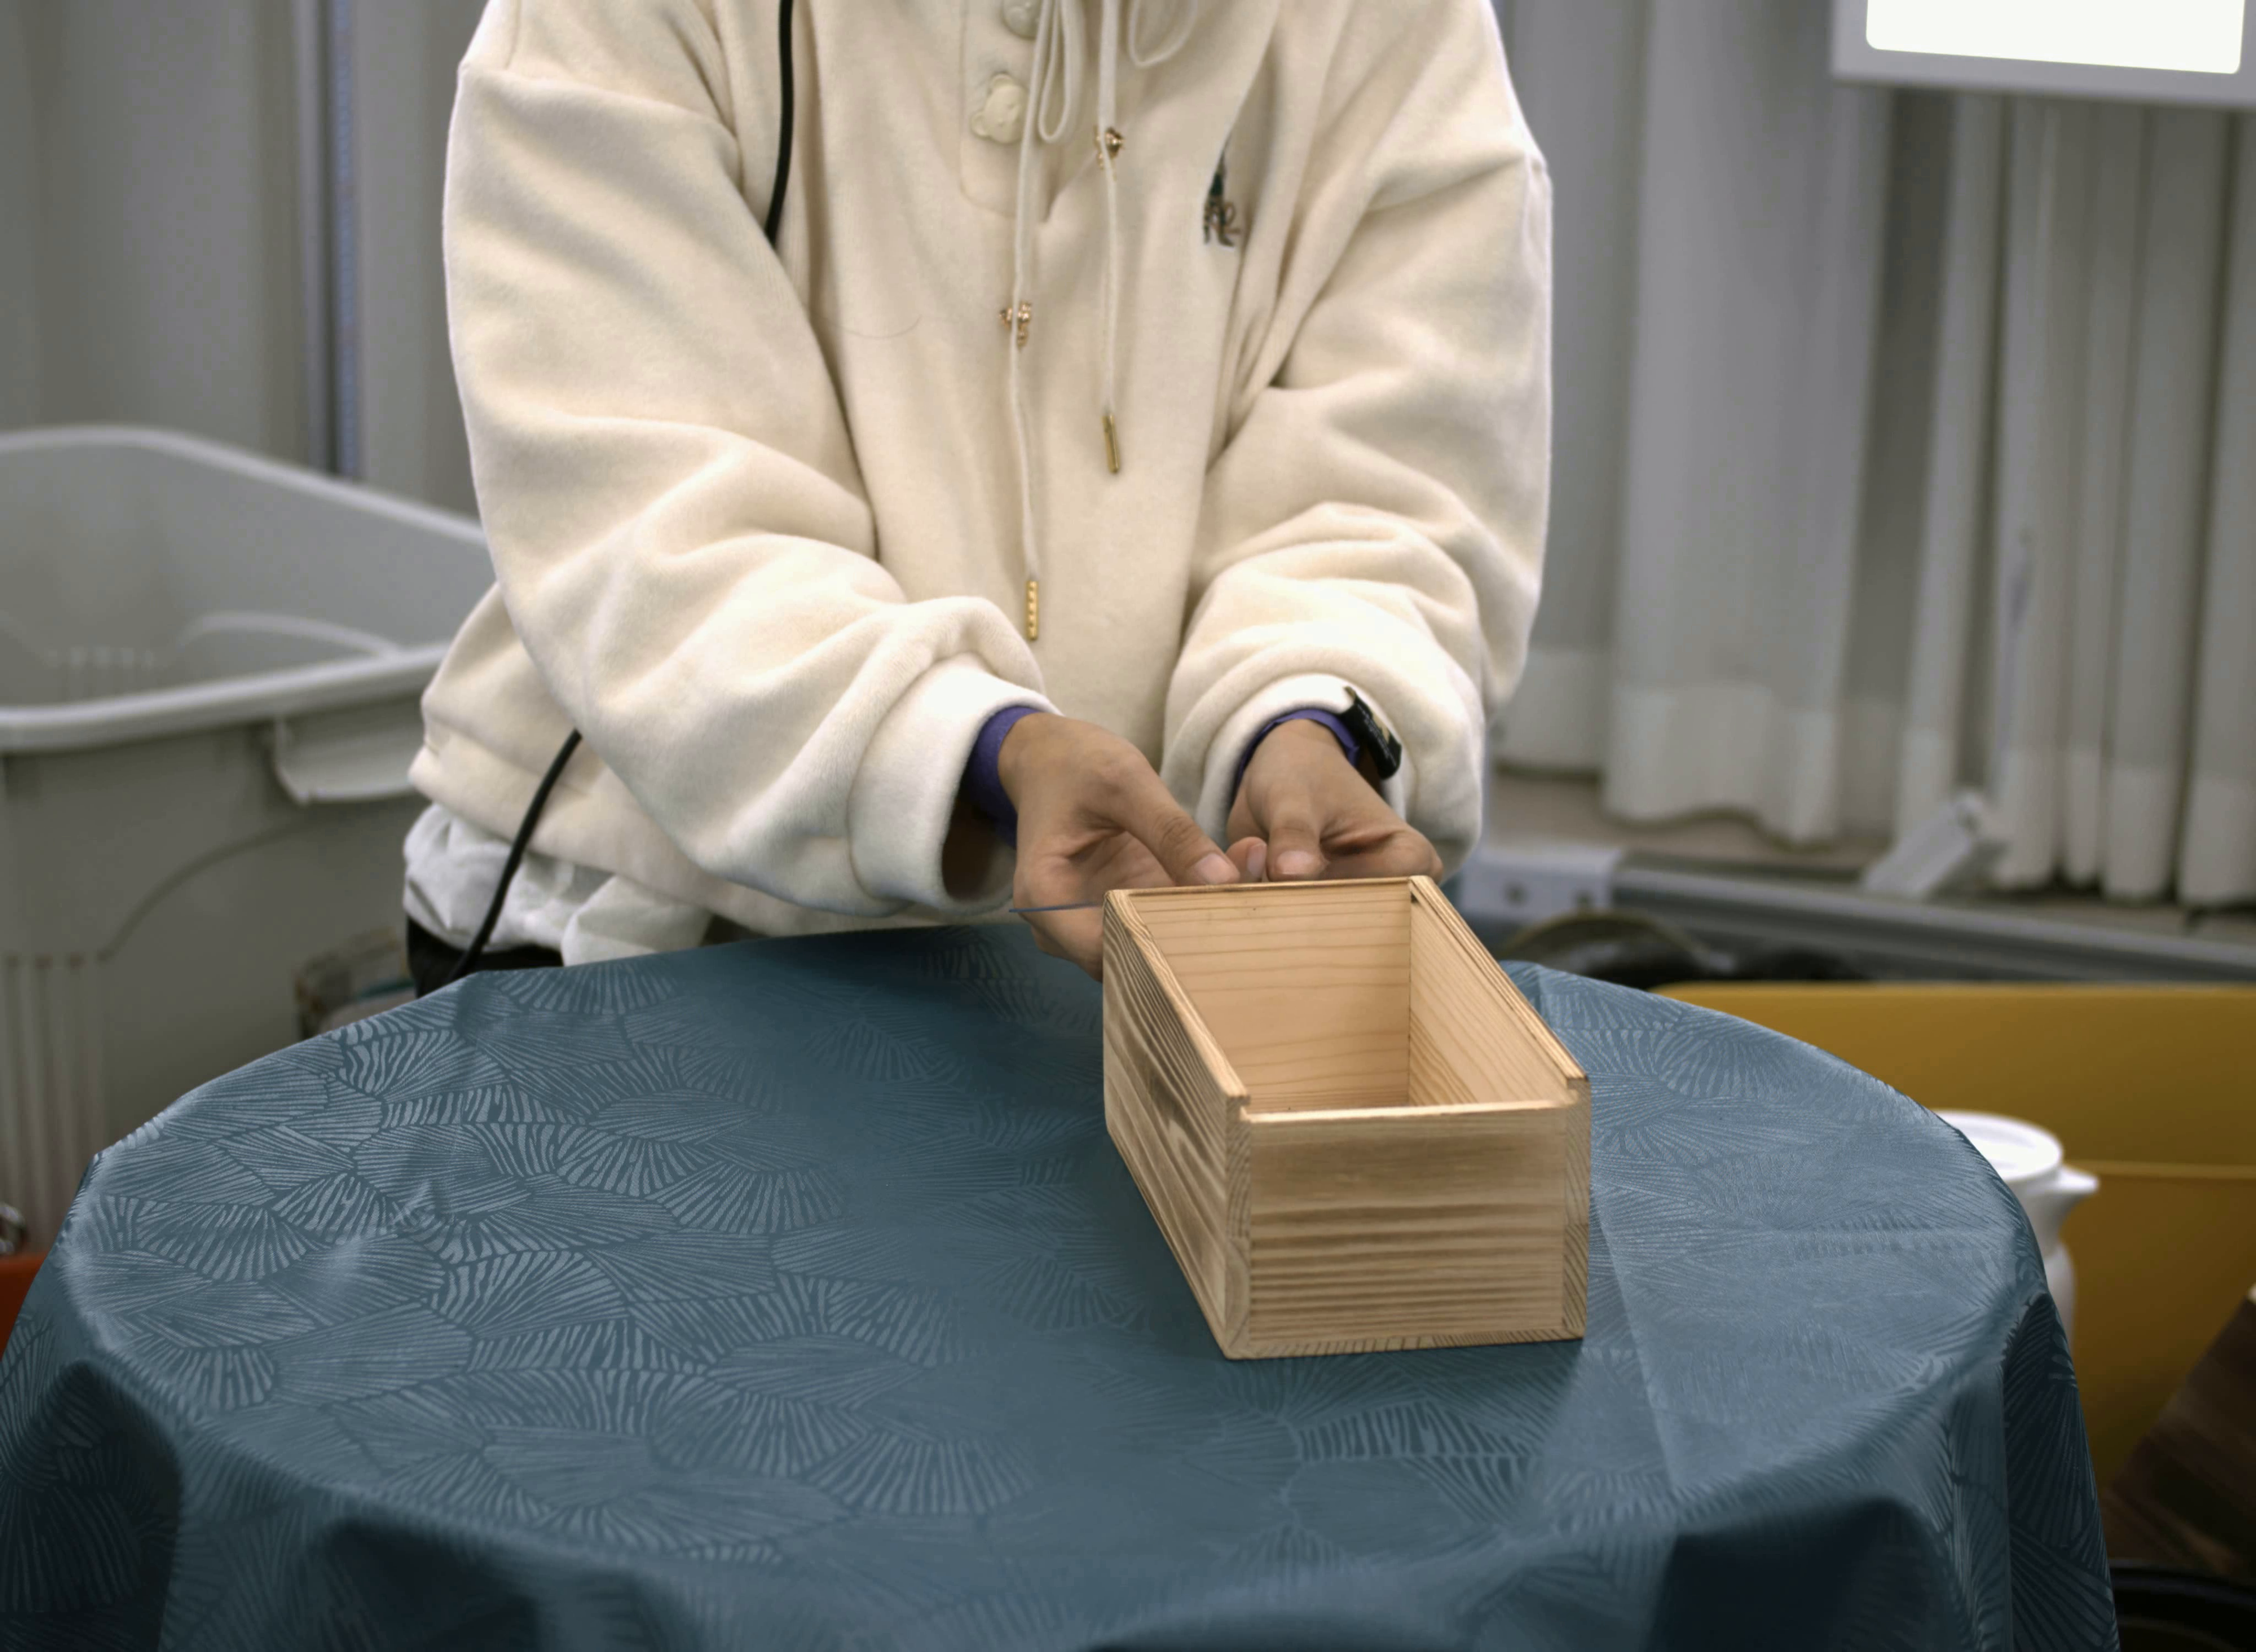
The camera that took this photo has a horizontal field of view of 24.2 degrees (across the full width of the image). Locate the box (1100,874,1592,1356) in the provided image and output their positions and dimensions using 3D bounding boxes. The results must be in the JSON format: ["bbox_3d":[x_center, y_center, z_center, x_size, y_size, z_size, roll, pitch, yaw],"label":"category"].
[{"bbox_3d":[0.061,0.082,1.580,0.107,0.081,0.209,-2,16,-10],"label":"box"}]

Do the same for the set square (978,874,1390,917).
[{"bbox_3d":[0.016,0.021,1.701,0.132,0.006,0.061,-3,4,-5],"label":"set square"}]
